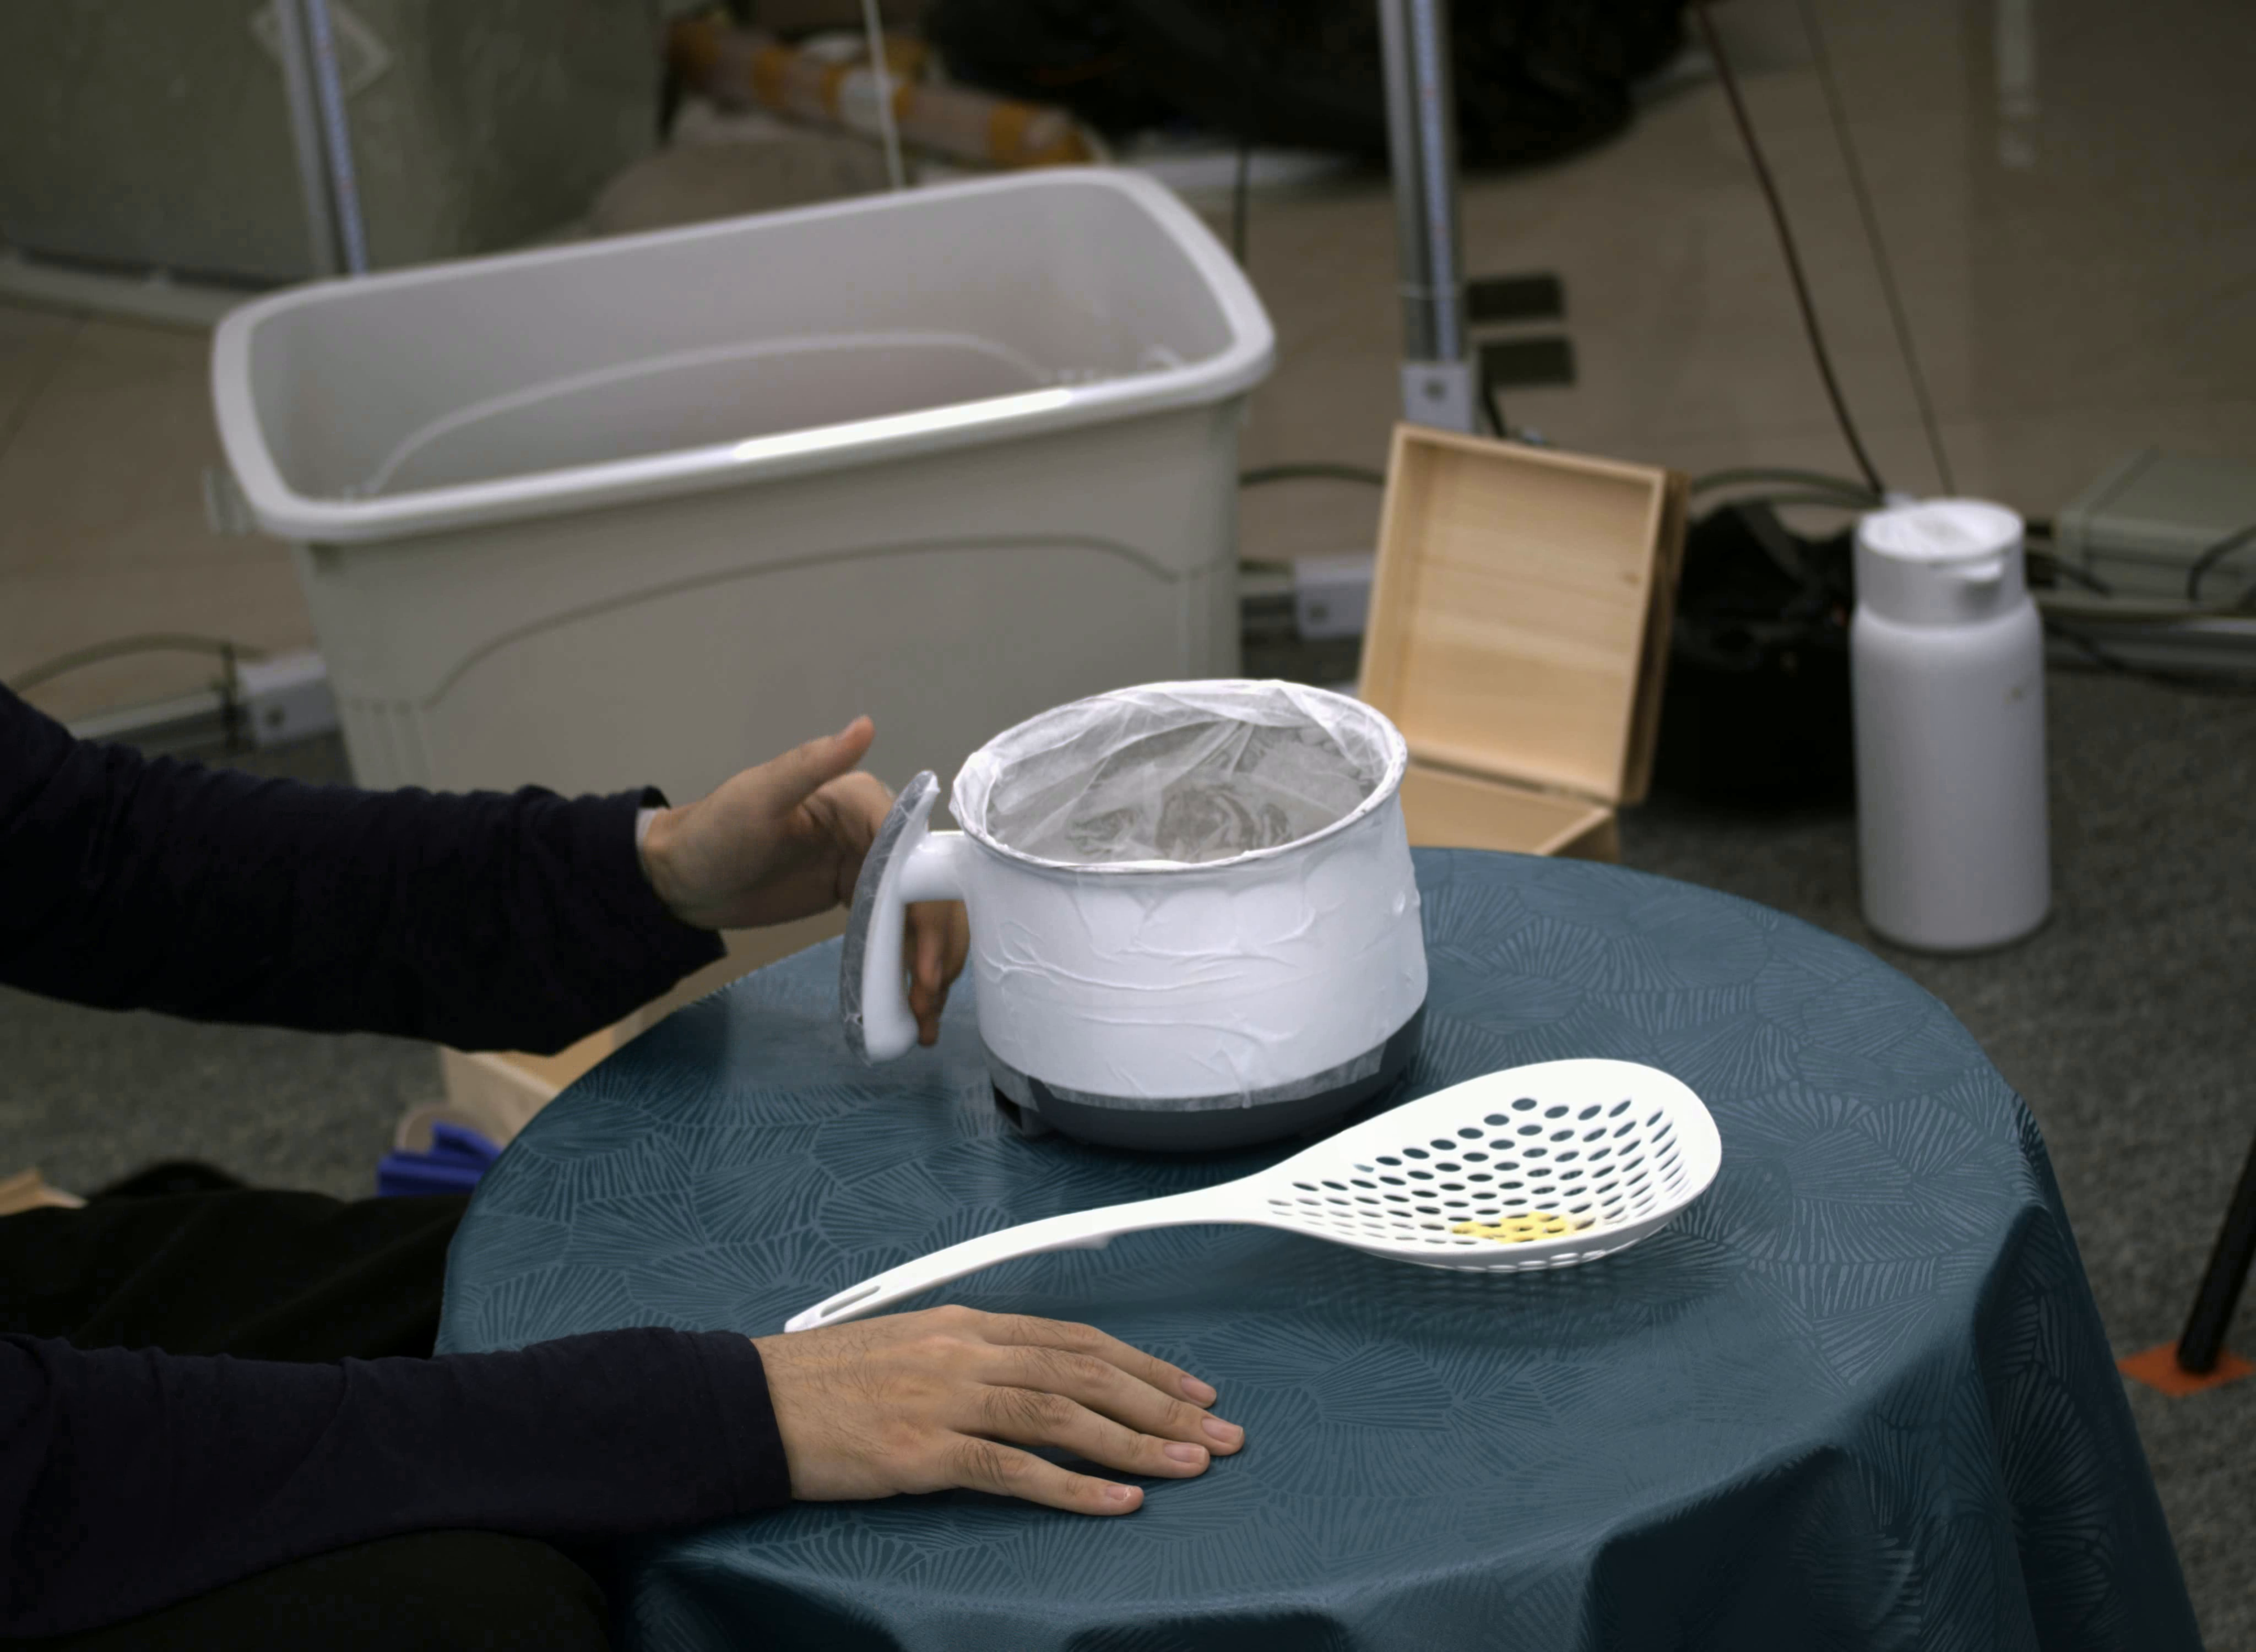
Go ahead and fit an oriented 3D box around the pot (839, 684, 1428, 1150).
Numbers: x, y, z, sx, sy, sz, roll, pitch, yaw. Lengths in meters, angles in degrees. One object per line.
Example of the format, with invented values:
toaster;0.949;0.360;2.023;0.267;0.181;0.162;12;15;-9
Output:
pot;-0.001;0.038;2.205;0.233;0.139;0.176;-3;23;7

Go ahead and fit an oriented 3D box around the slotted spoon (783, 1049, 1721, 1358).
slotted spoon;0.044;0.147;2.070;0.347;0.051;0.135;-7;26;-2
